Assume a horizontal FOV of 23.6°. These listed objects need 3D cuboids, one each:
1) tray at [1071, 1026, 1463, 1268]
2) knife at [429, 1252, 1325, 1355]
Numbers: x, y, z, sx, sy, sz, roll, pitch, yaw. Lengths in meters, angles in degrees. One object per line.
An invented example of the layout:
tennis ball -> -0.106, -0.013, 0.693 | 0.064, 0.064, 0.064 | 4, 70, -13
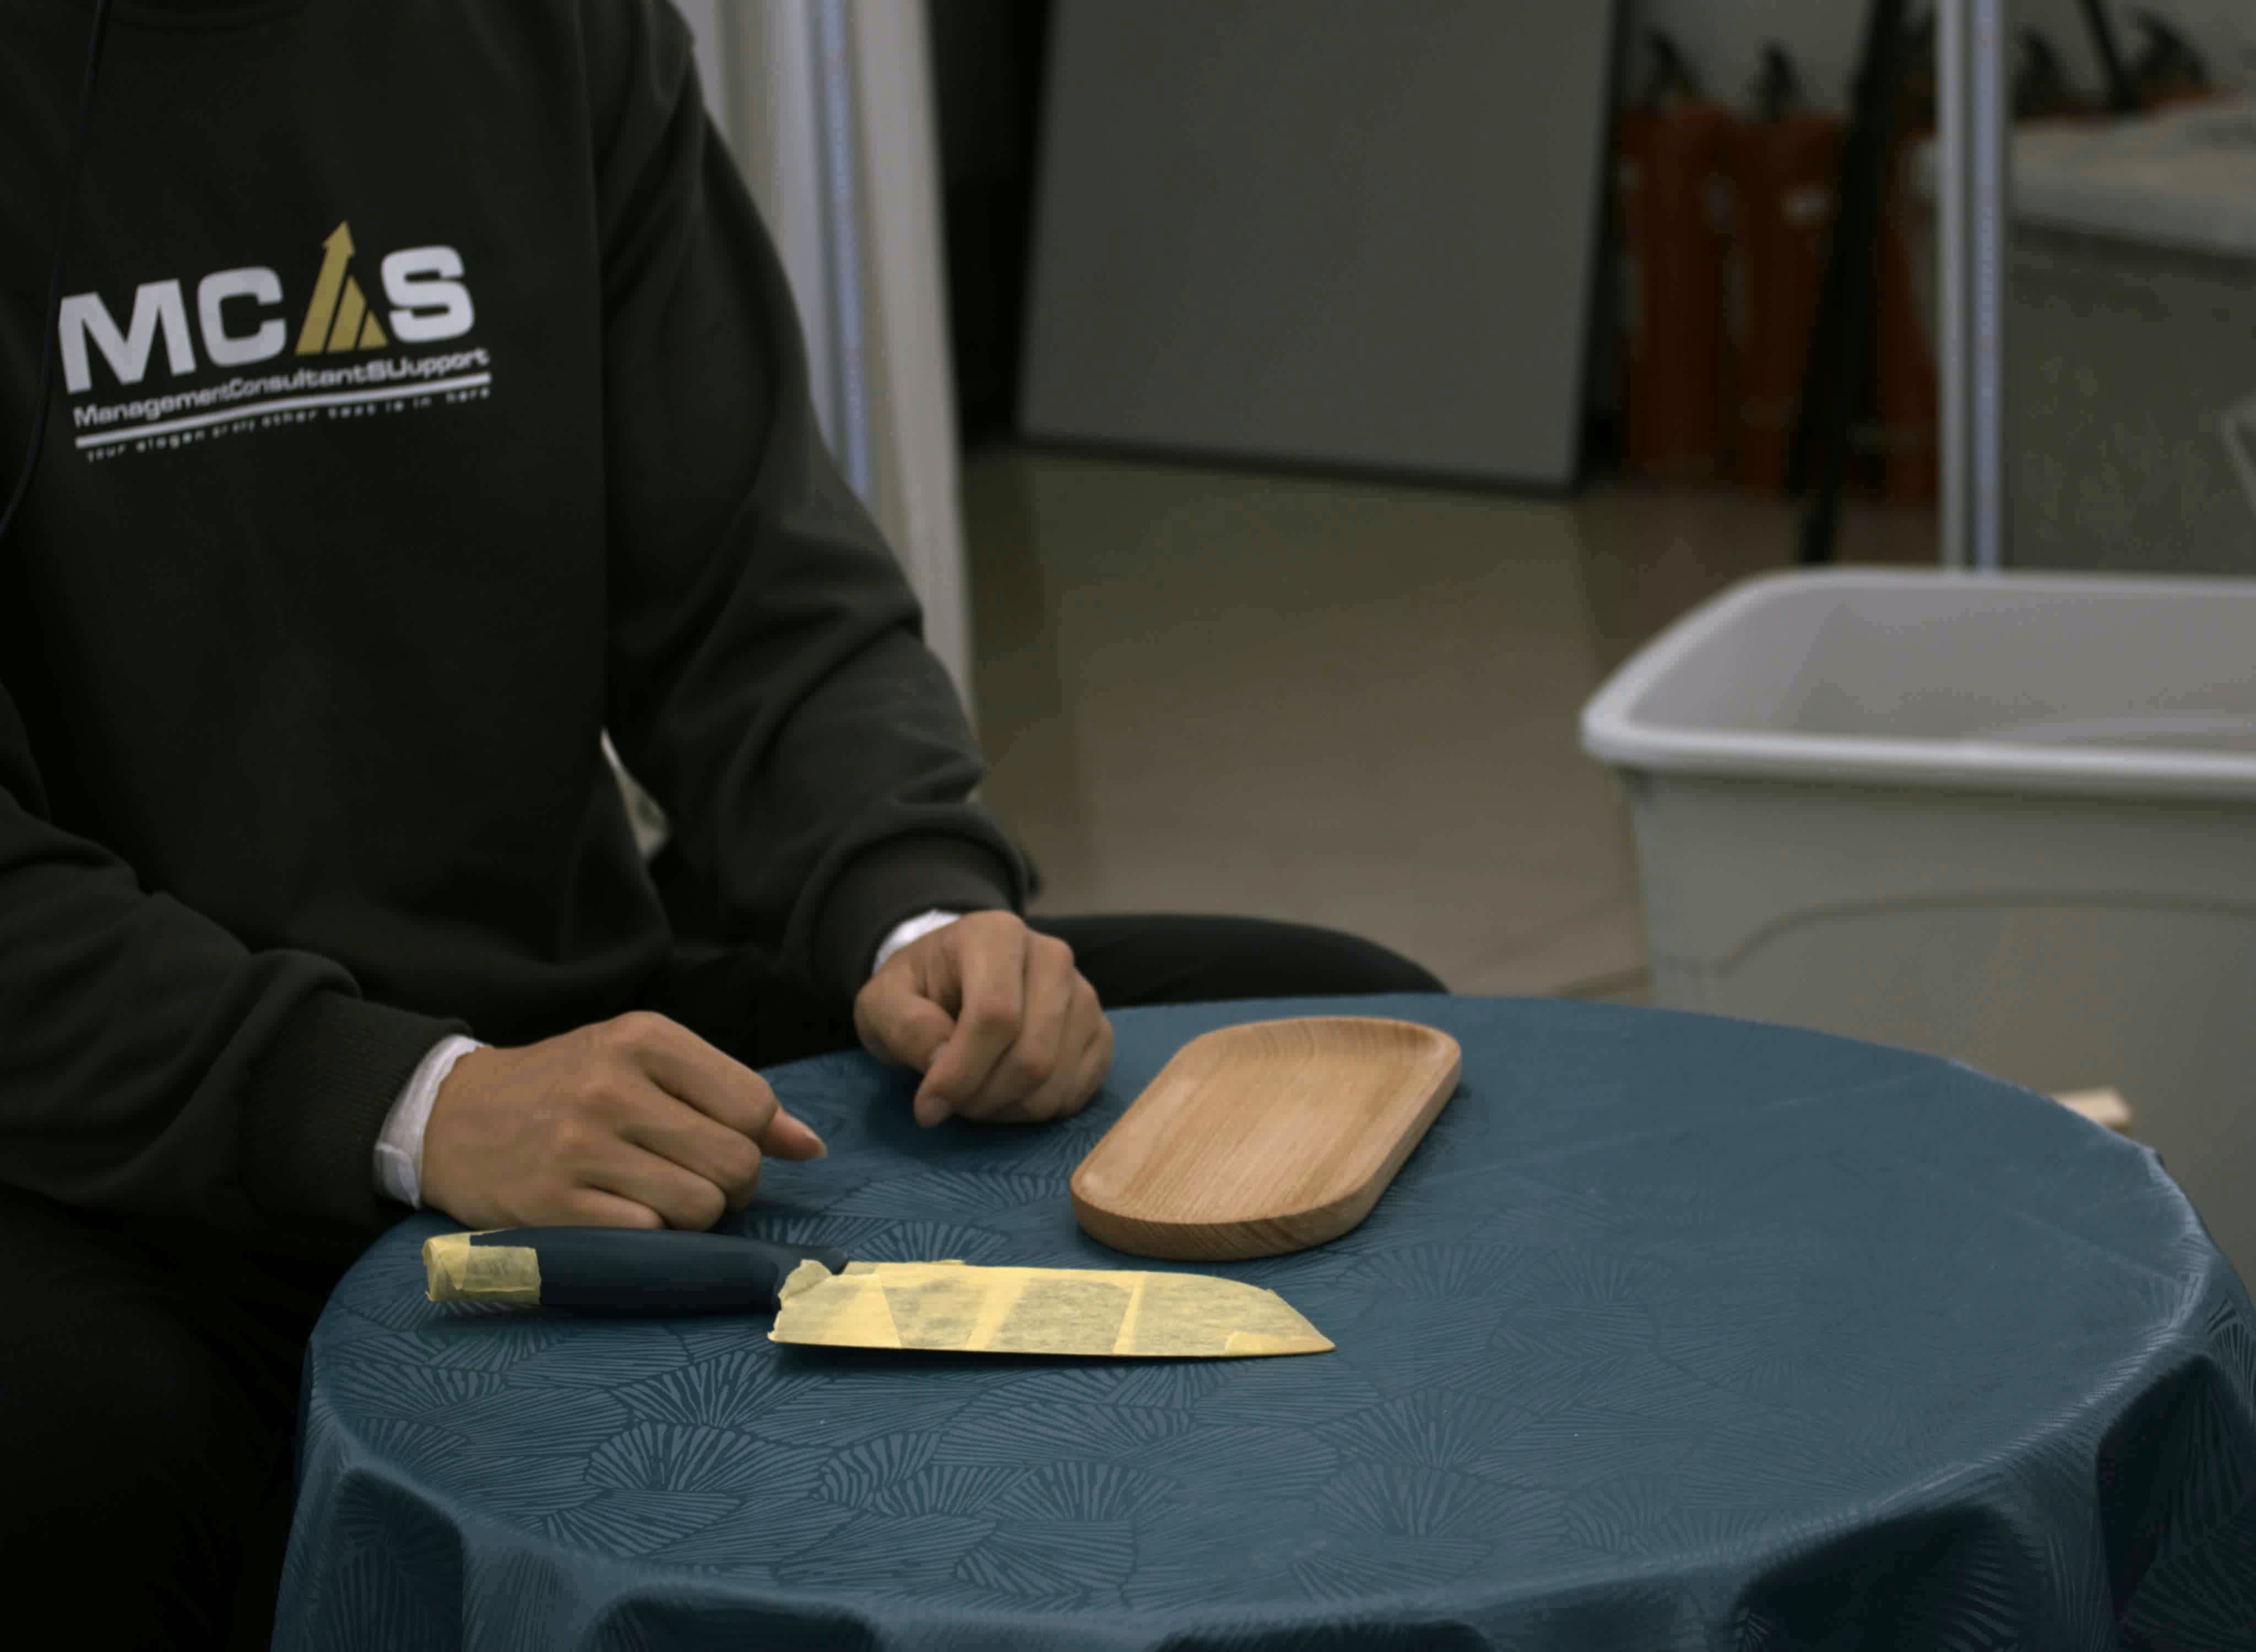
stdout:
tray -> 0.049, 0.105, 1.795 | 0.101, 0.020, 0.229 | -2, 15, 16
knife -> -0.080, 0.149, 1.654 | 0.287, 0.027, 0.080 | 0, 12, 12
